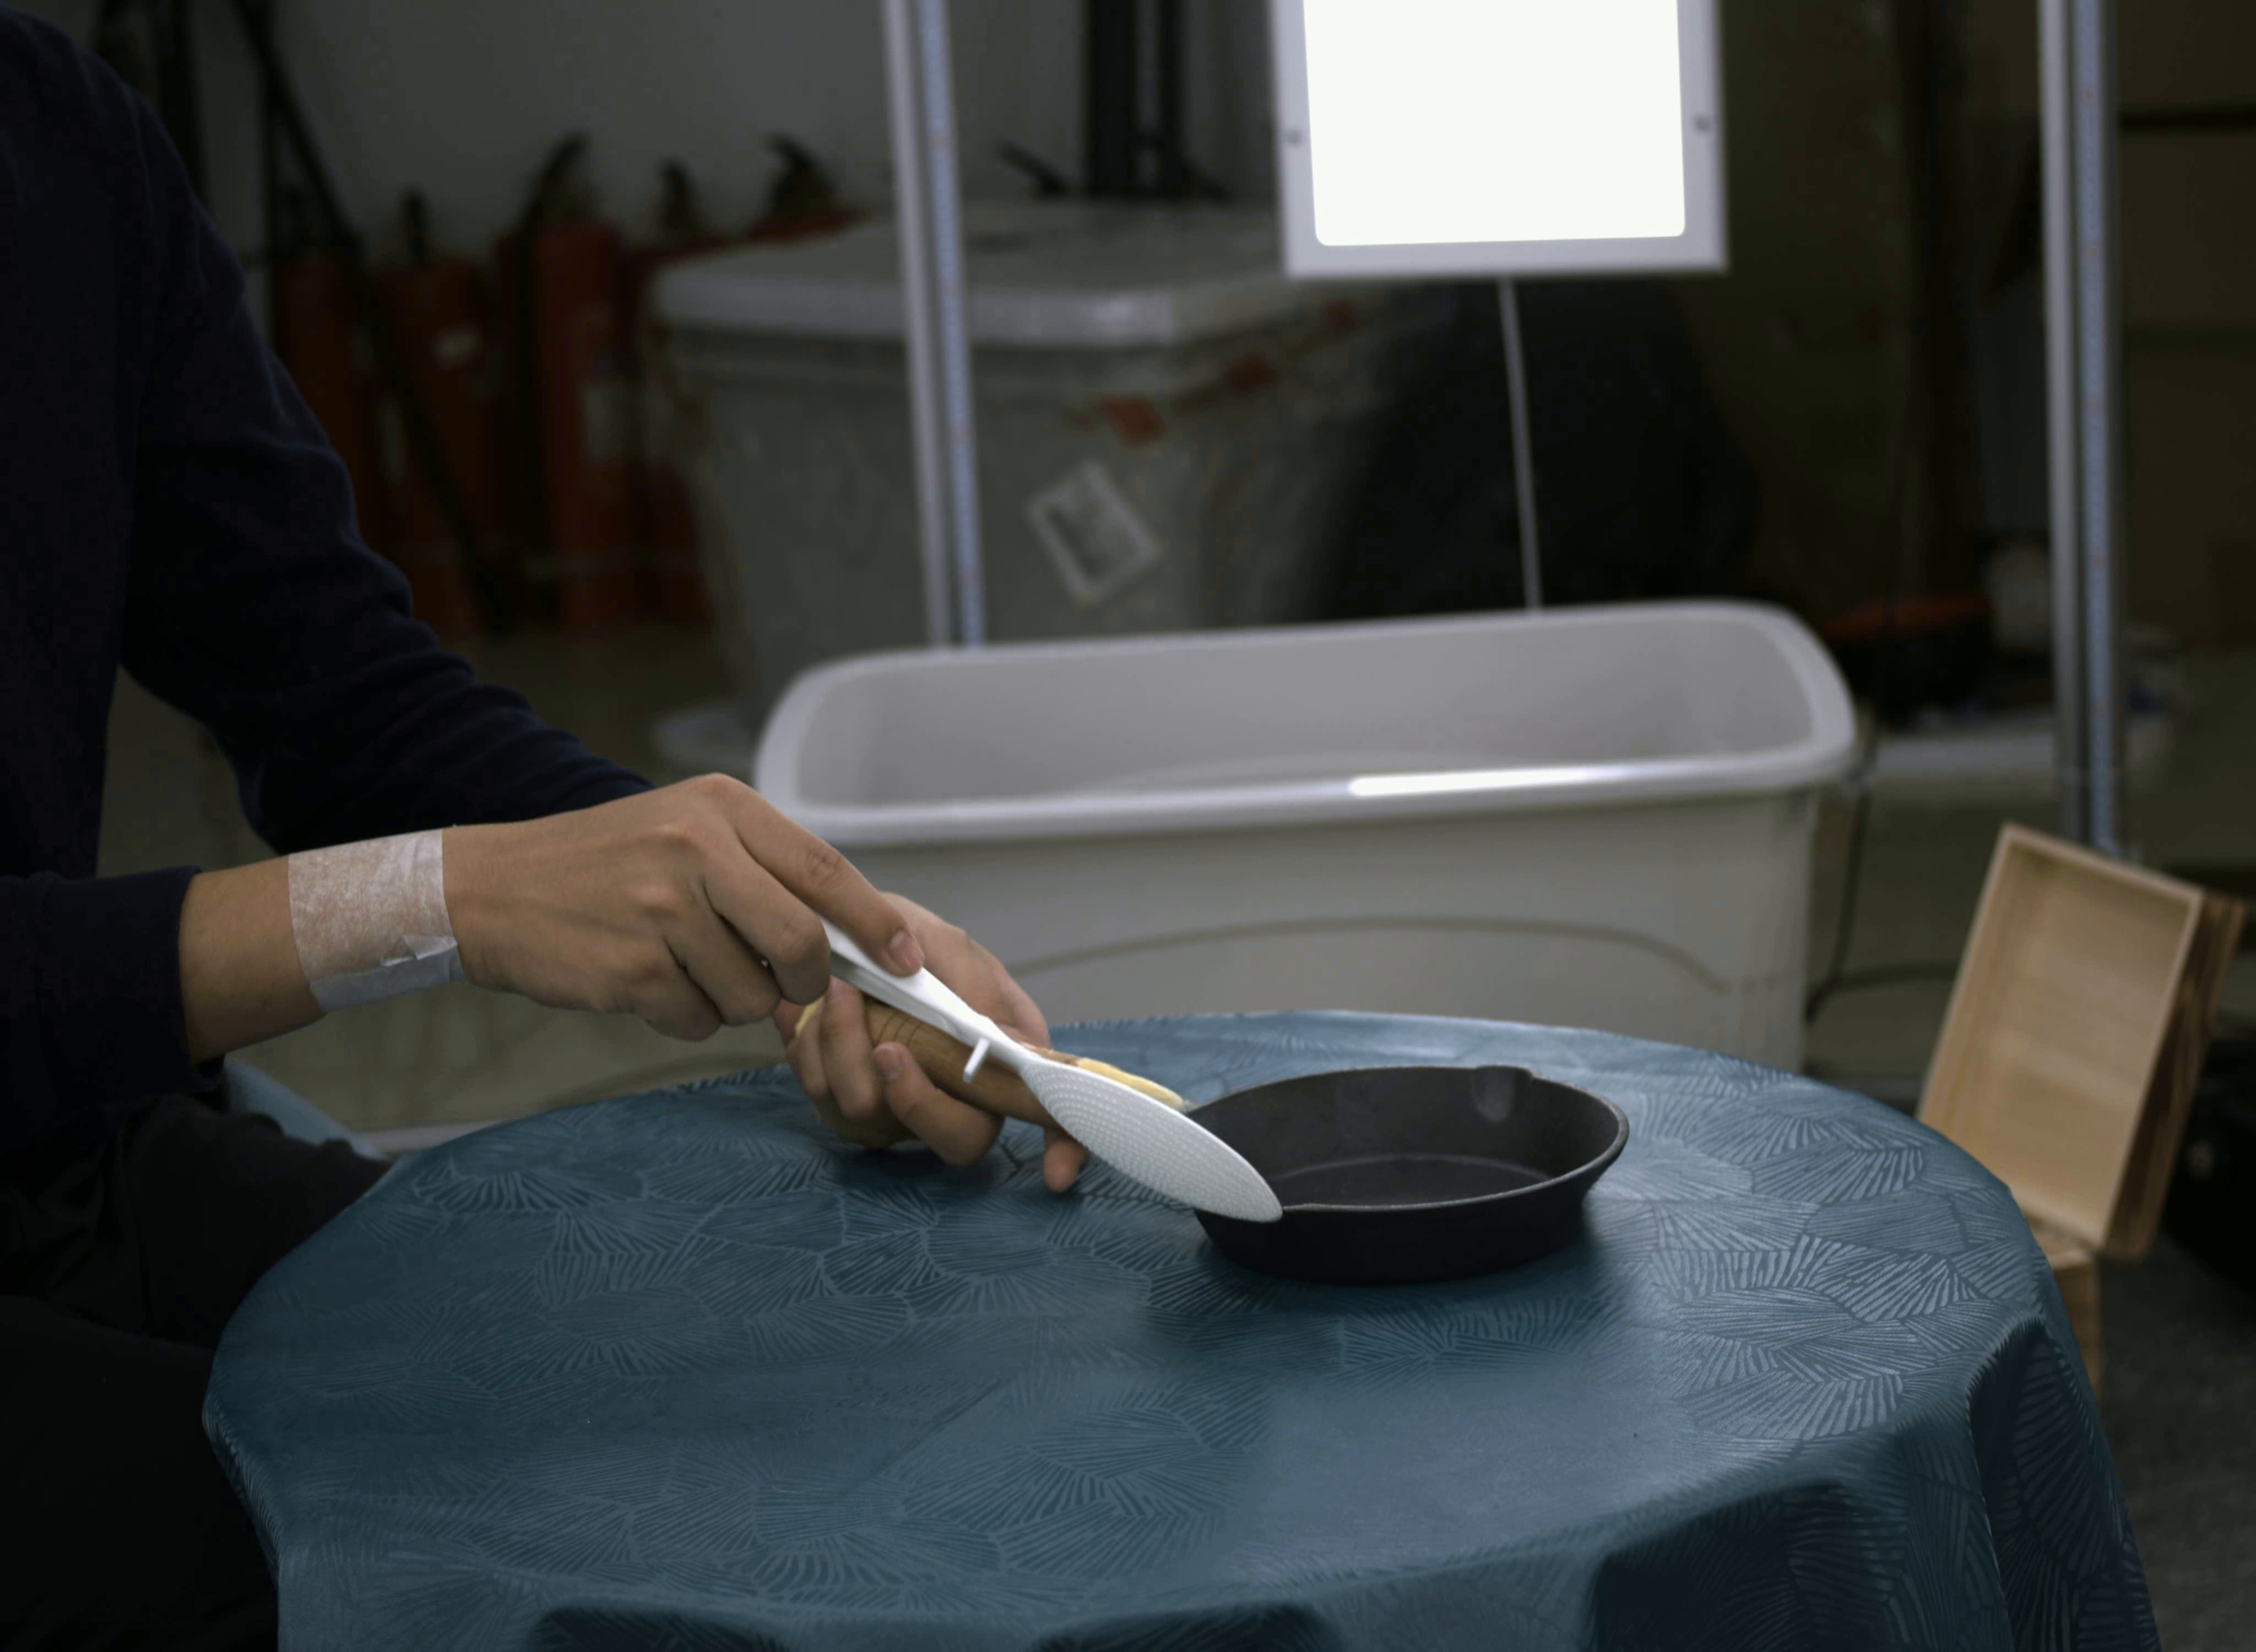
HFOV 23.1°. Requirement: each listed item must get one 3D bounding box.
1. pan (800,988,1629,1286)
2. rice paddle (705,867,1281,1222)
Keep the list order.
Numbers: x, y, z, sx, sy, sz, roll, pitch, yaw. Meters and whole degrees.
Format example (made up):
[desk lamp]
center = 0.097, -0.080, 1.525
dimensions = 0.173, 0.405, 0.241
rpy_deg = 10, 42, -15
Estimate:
[pan]
center = 0.020, 0.100, 1.880
dimensions = 0.331, 0.050, 0.165
rpy_deg = 8, 19, 36
[rice paddle]
center = -0.040, 0.074, 1.759
dimensions = 0.206, 0.029, 0.069
rpy_deg = 28, -17, 6
